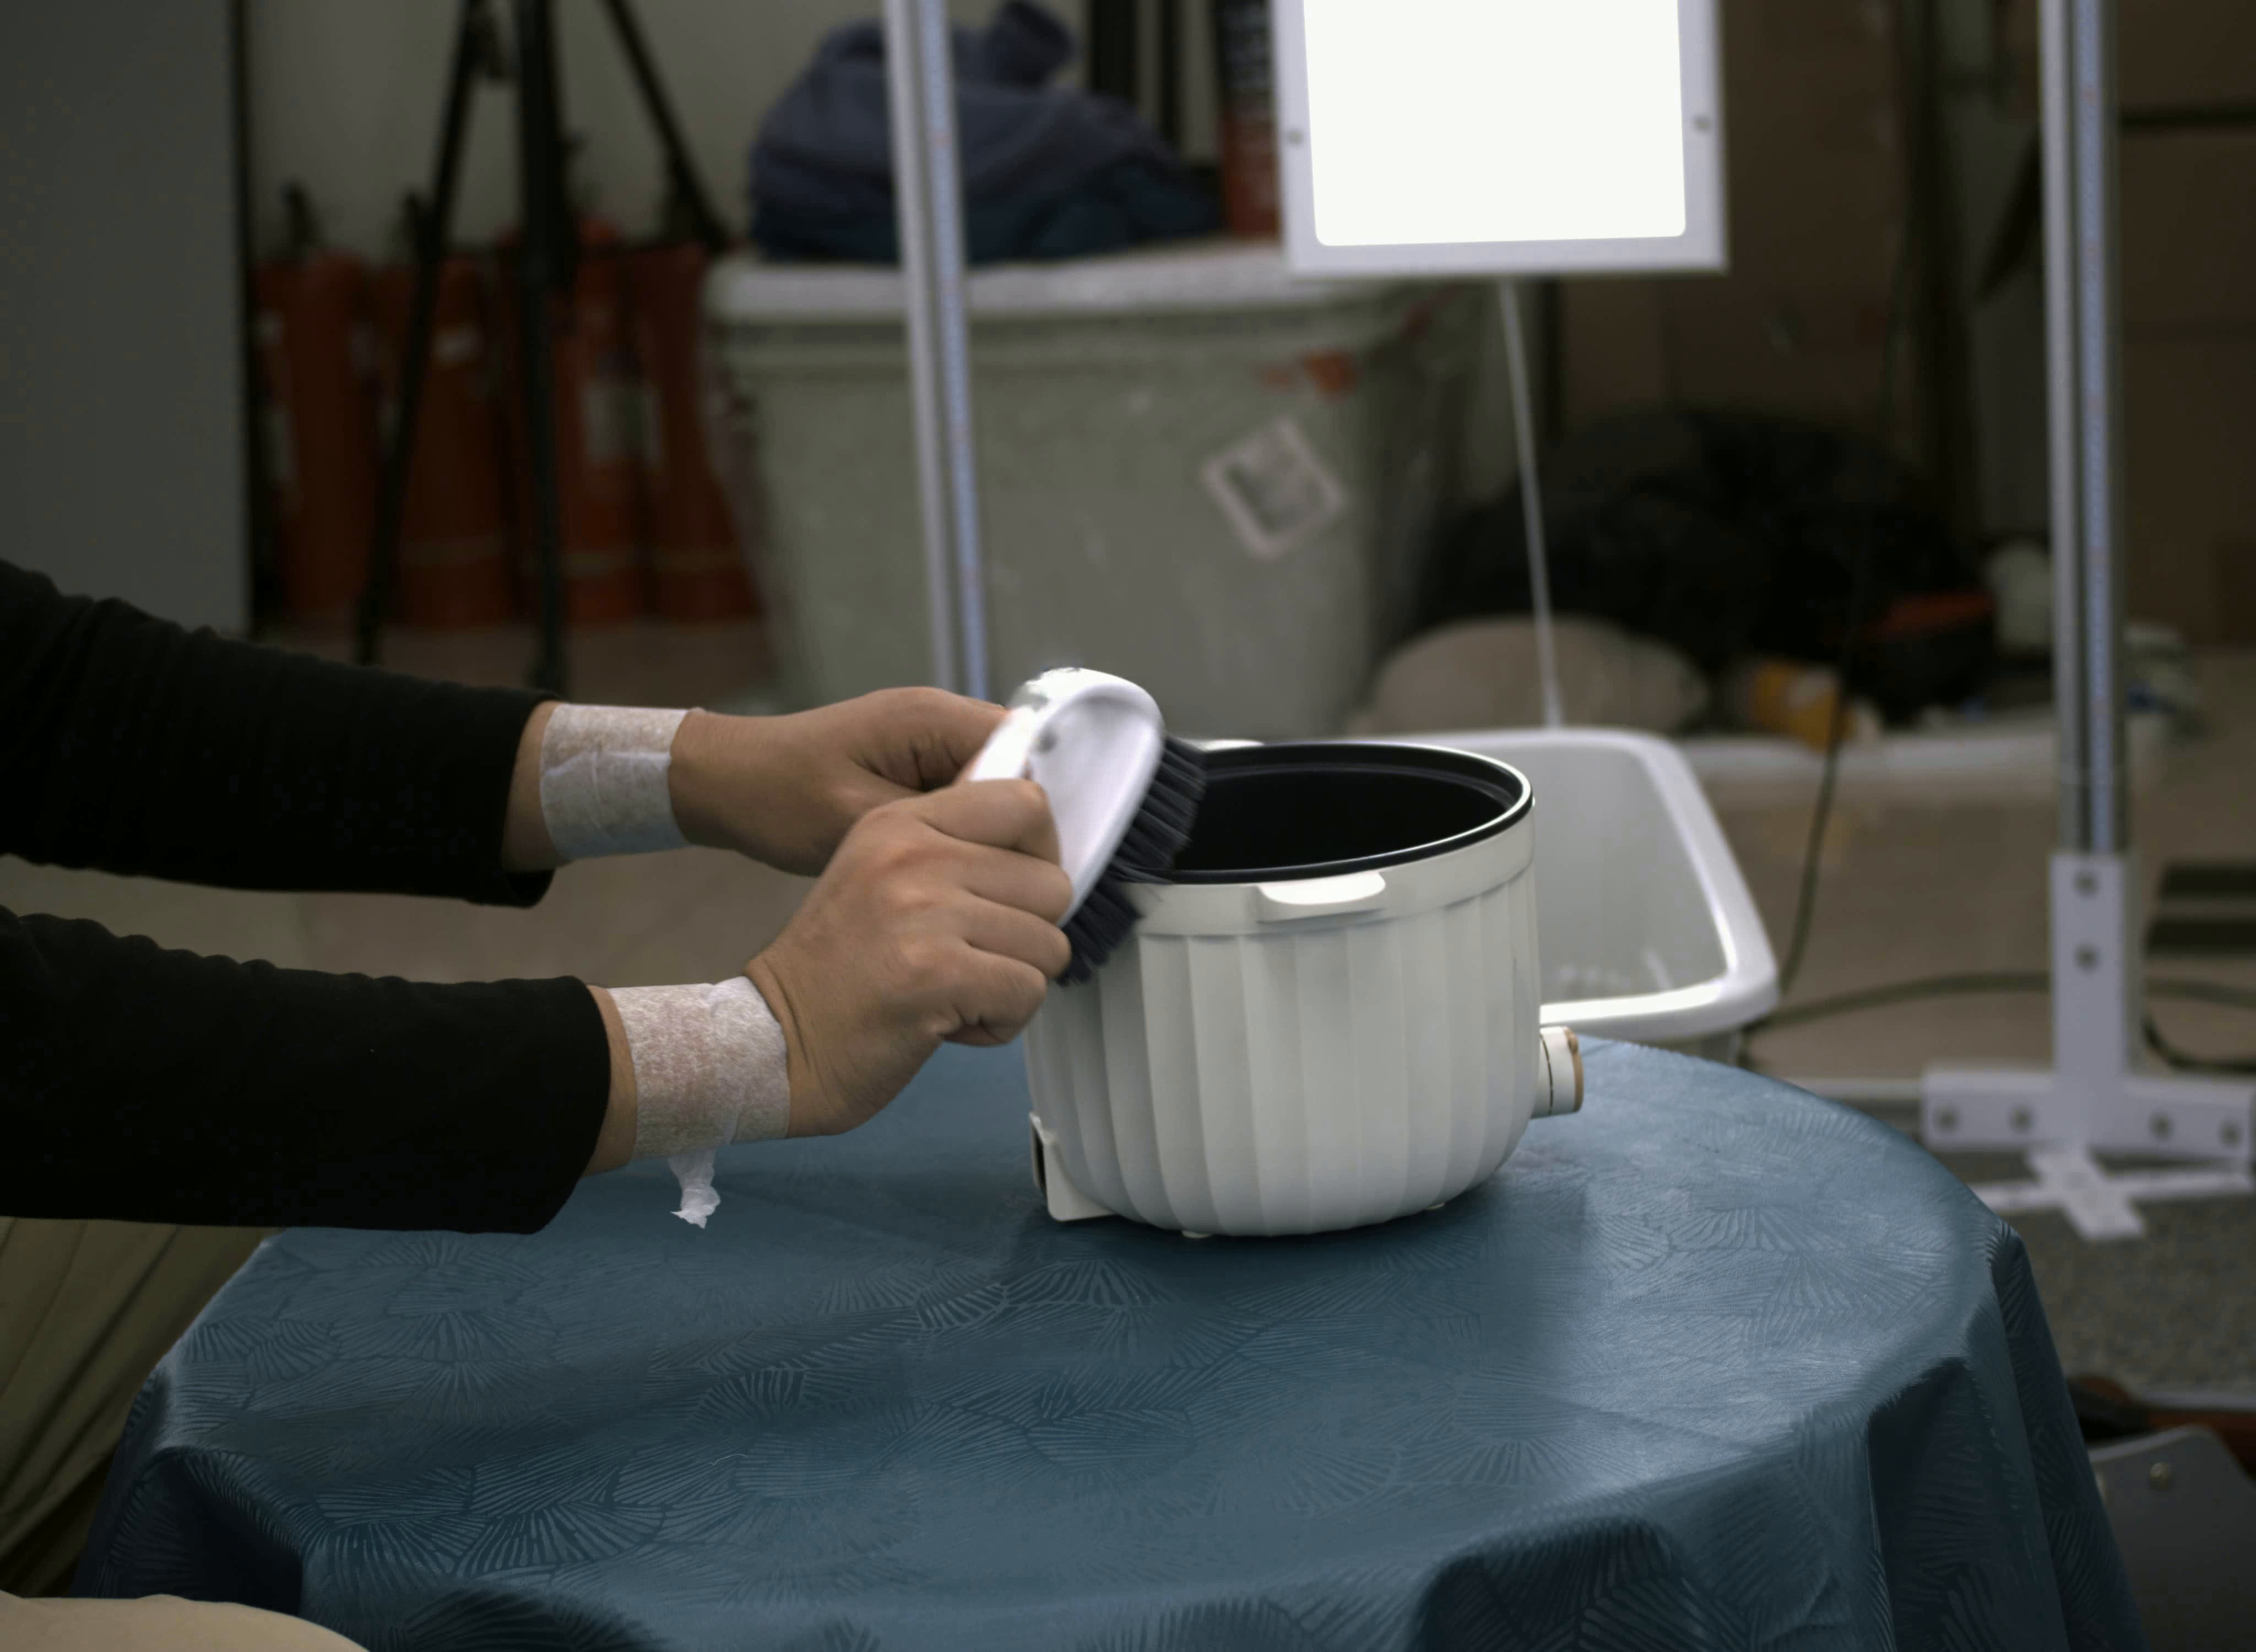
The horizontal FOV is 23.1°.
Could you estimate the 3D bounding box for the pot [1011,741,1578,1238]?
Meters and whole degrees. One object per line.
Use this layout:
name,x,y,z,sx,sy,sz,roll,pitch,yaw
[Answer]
pot,0.055,0.056,1.875,0.189,0.143,0.241,-9,15,-7

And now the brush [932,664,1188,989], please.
brush,-0.029,-0.007,1.785,0.051,0.098,0.071,17,-19,39
